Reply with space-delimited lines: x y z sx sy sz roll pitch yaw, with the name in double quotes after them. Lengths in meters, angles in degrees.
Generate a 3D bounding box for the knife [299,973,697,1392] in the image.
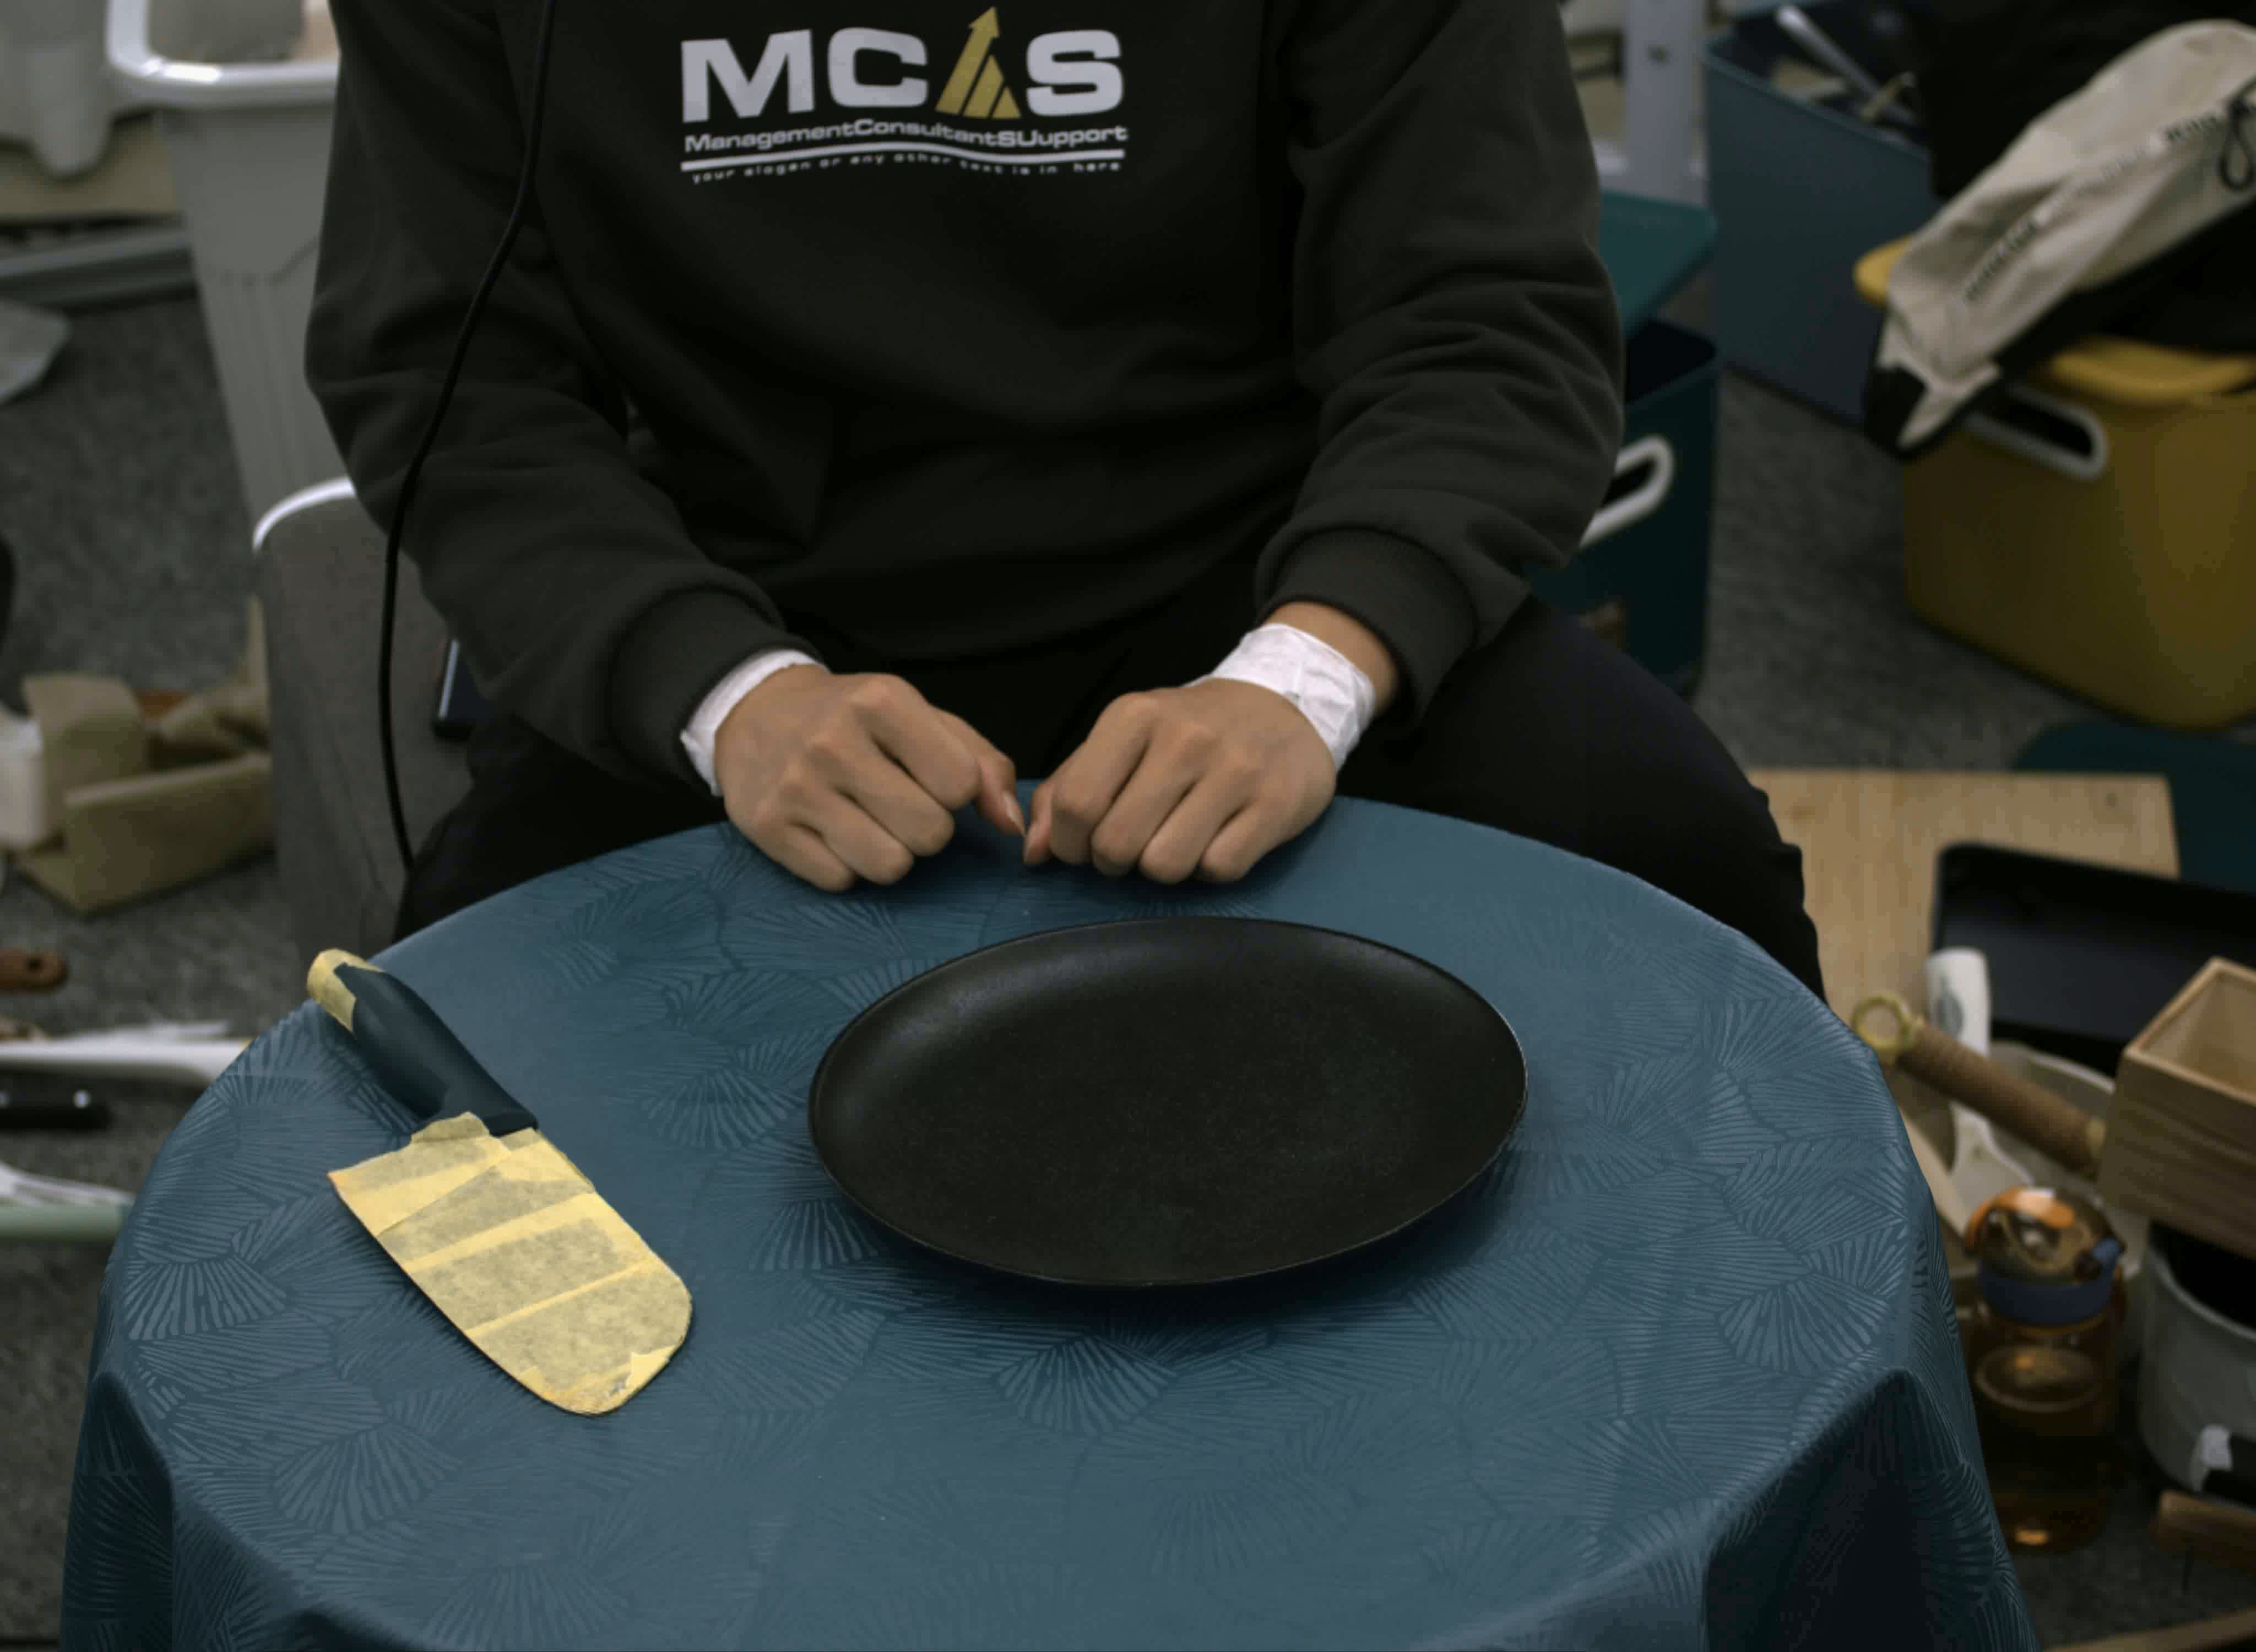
-0.224 0.119 1.872 0.081 0.027 0.291 -15 30 -25 "knife"

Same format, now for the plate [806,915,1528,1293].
0.013 0.097 1.883 0.243 0.023 0.248 -2 27 1 "plate"
